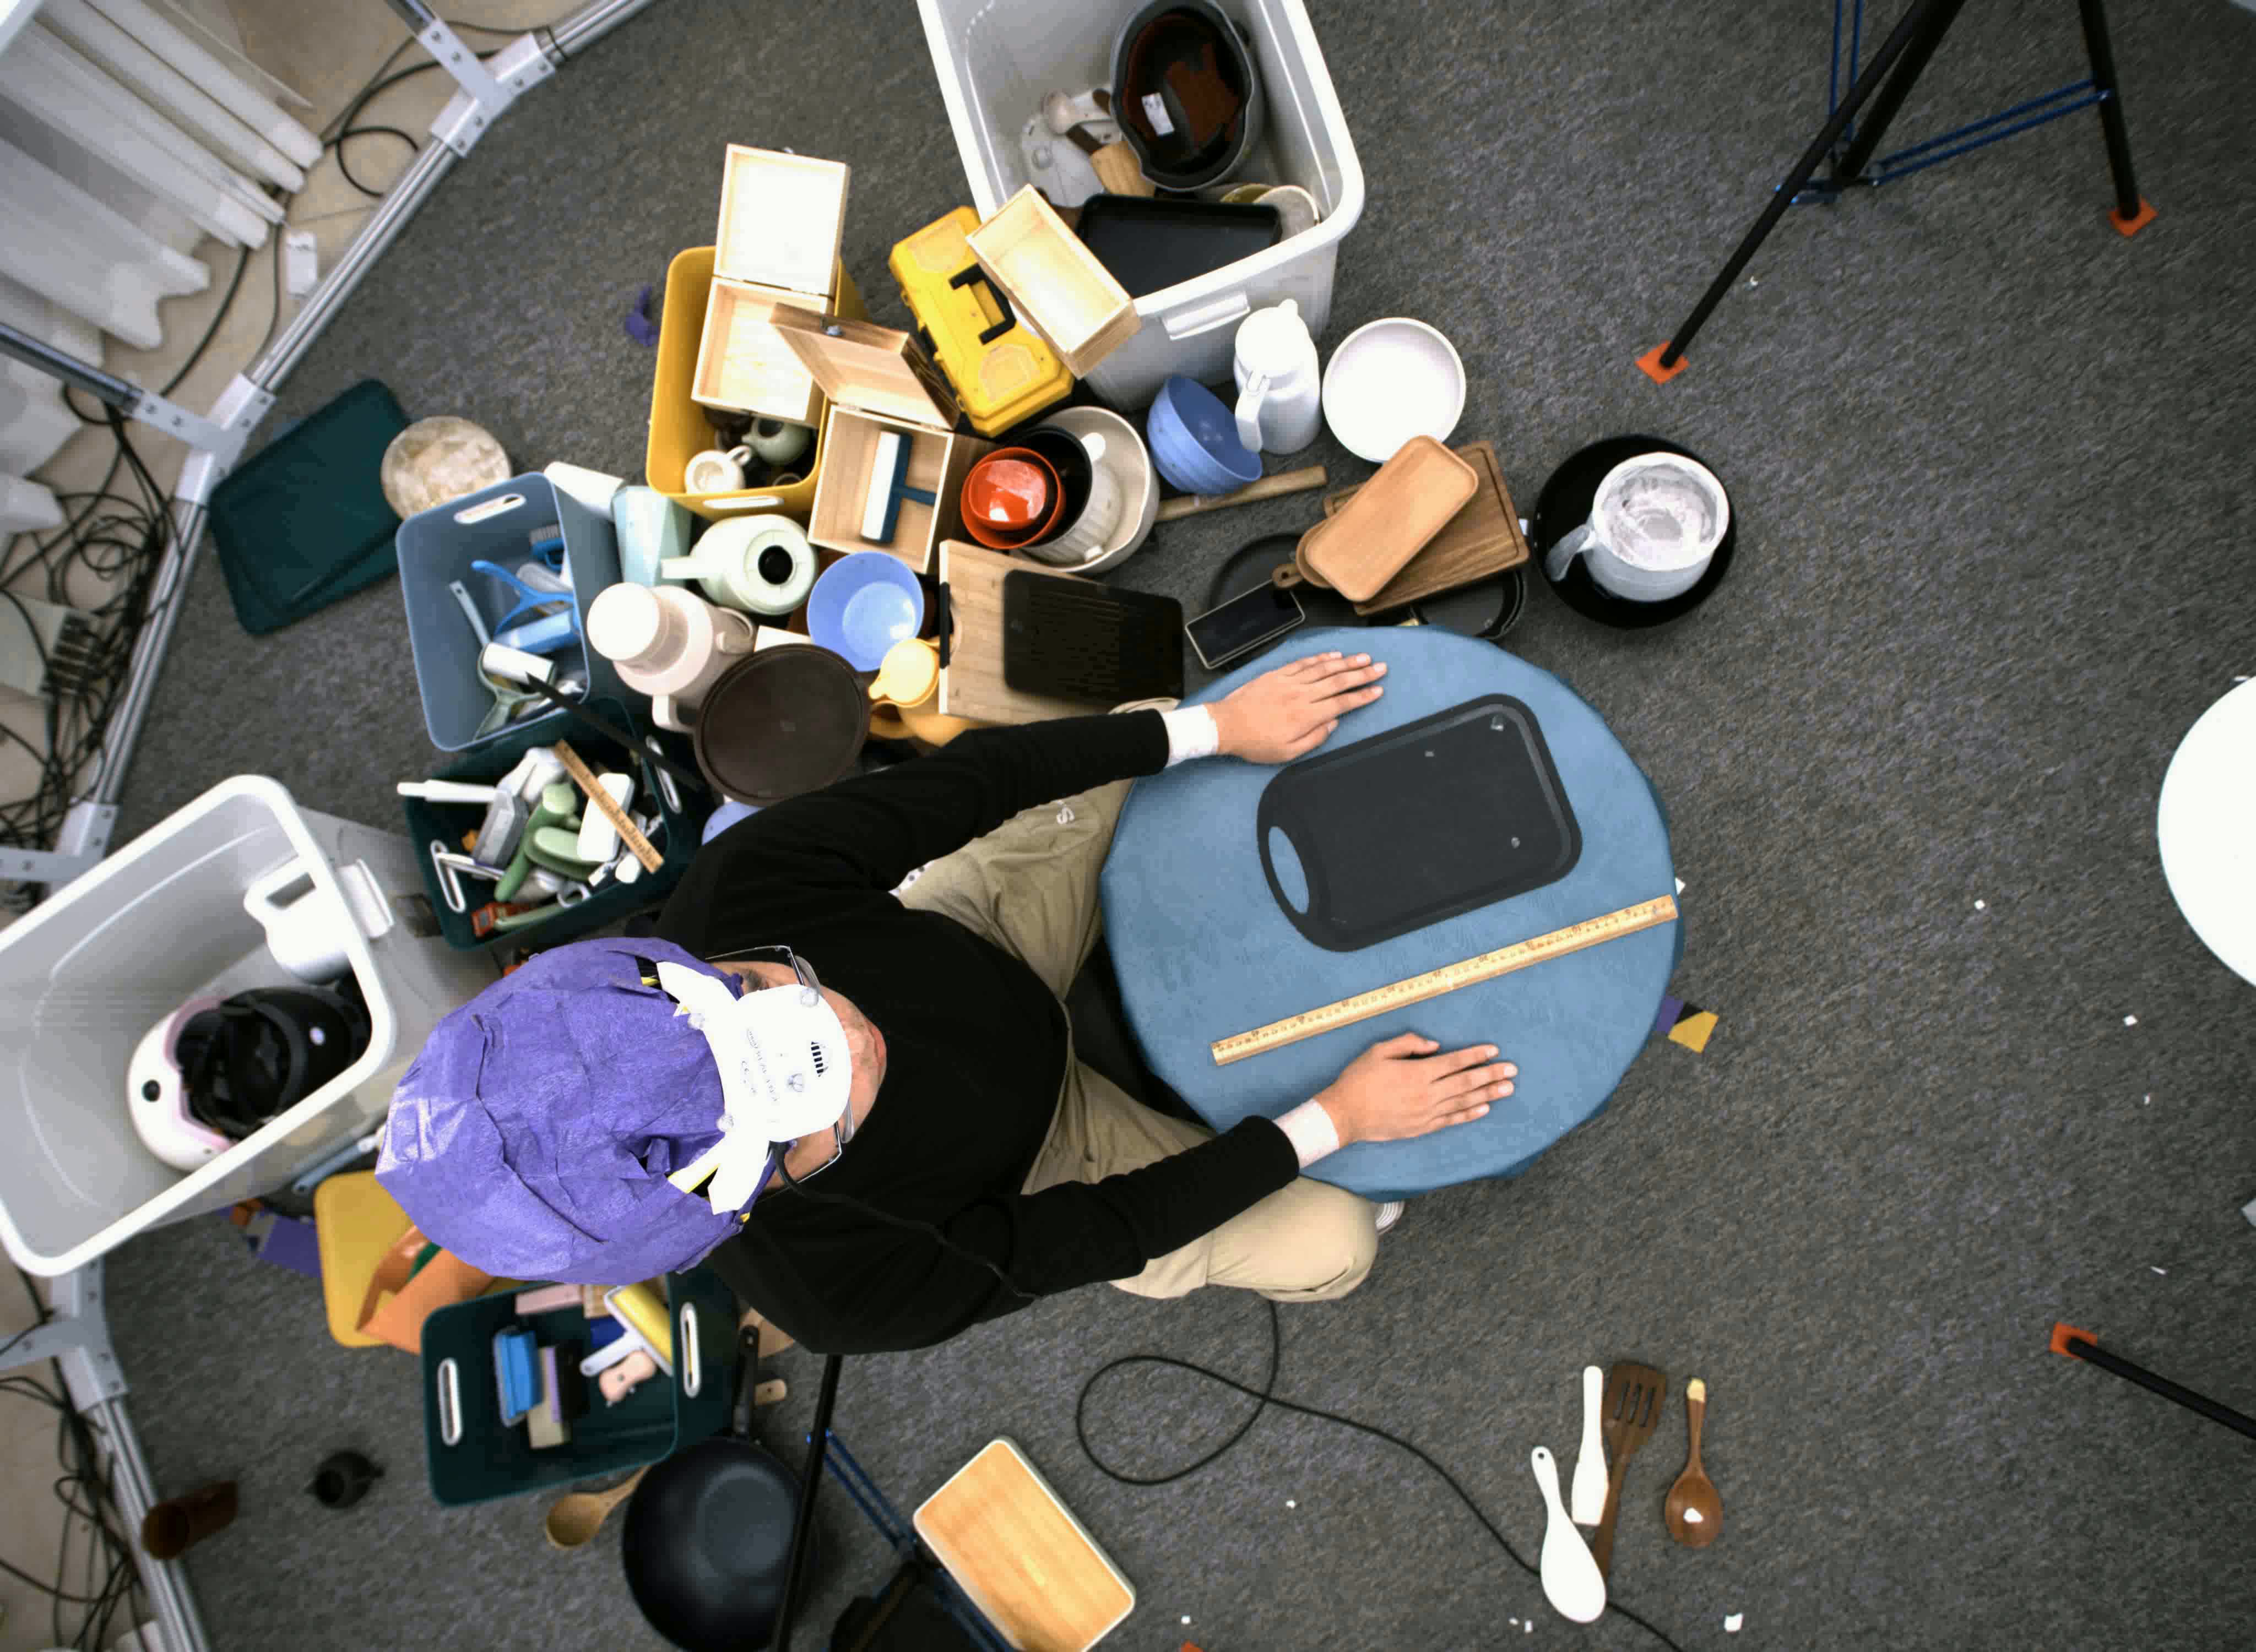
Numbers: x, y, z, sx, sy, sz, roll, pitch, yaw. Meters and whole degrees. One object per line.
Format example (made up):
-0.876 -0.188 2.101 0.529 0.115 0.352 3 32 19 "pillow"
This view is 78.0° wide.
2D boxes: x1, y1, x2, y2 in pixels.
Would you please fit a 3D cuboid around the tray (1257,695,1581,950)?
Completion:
0.299 -0.001 1.455 0.327 0.010 0.210 -19 83 9 "tray"

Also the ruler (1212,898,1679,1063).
0.326 0.160 1.442 0.503 0.006 0.026 -19 81 9 "ruler"
